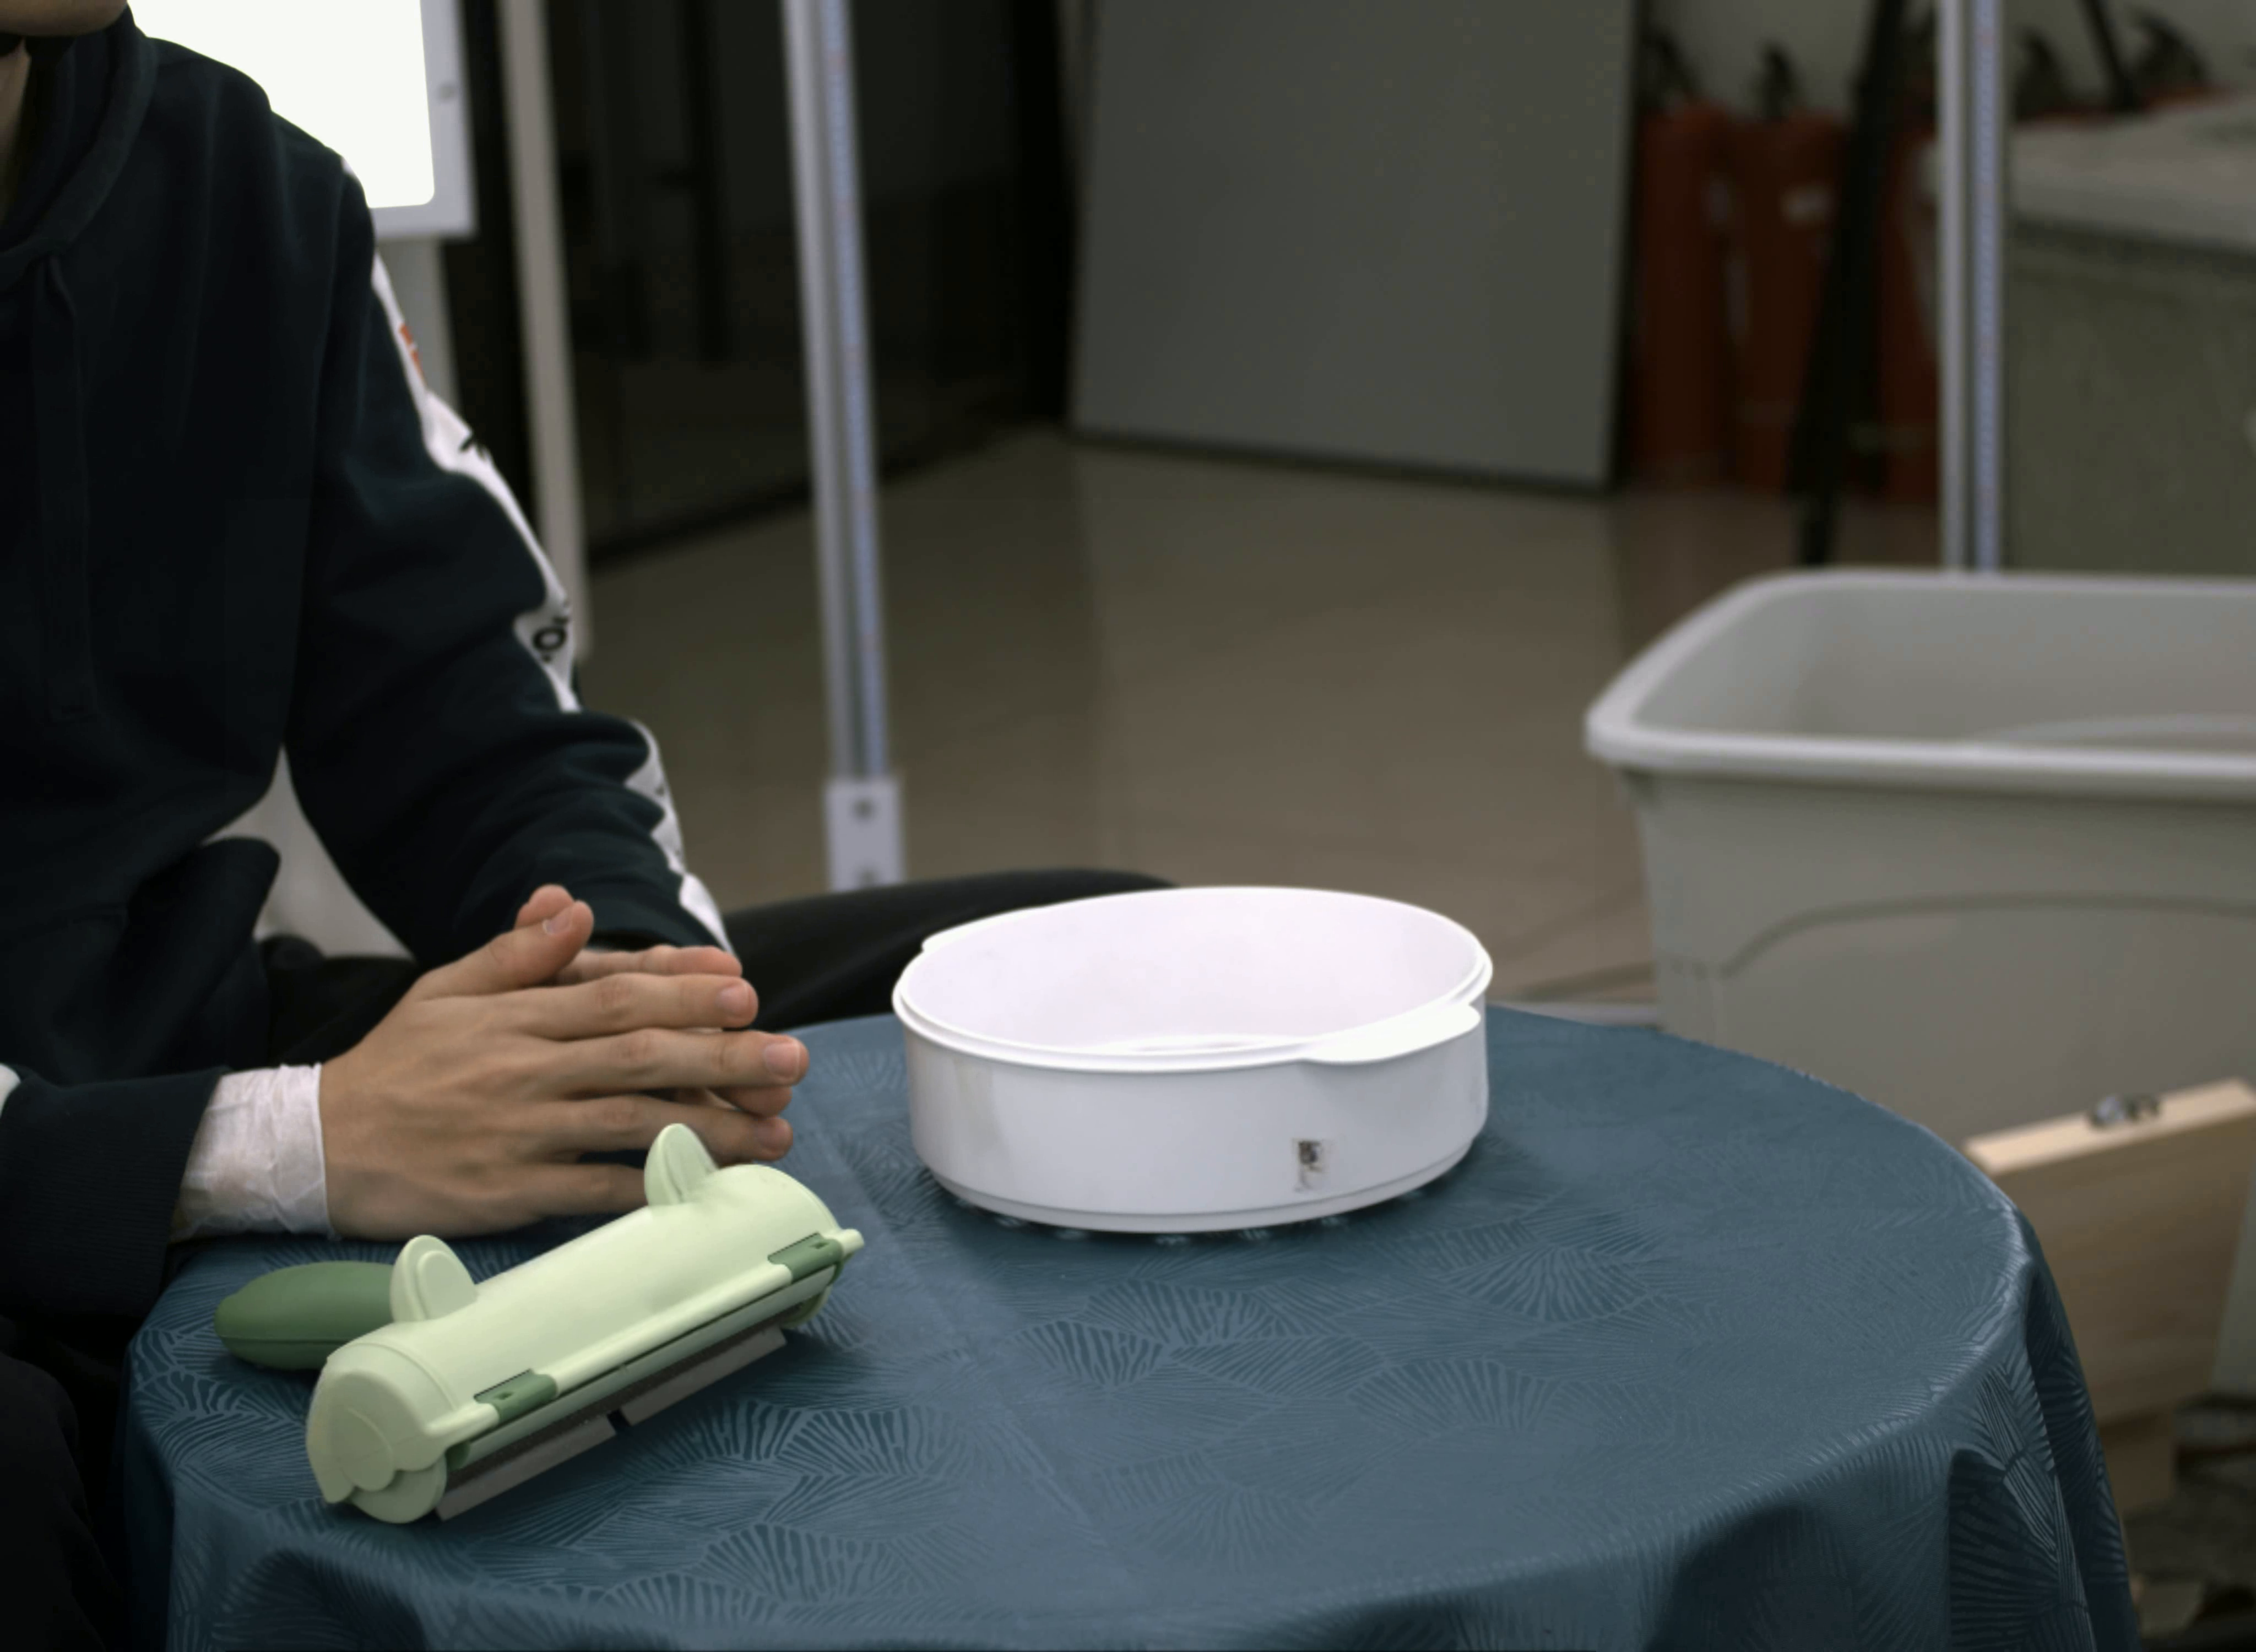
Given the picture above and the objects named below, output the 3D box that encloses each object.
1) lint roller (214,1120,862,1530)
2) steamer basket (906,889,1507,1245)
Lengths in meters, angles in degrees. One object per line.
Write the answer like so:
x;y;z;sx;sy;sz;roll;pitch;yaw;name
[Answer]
-0.205;0.135;1.614;0.184;0.083;0.195;11;20;34;lint roller
0.027;0.080;1.789;0.197;0.070;0.233;-16;20;-39;steamer basket
